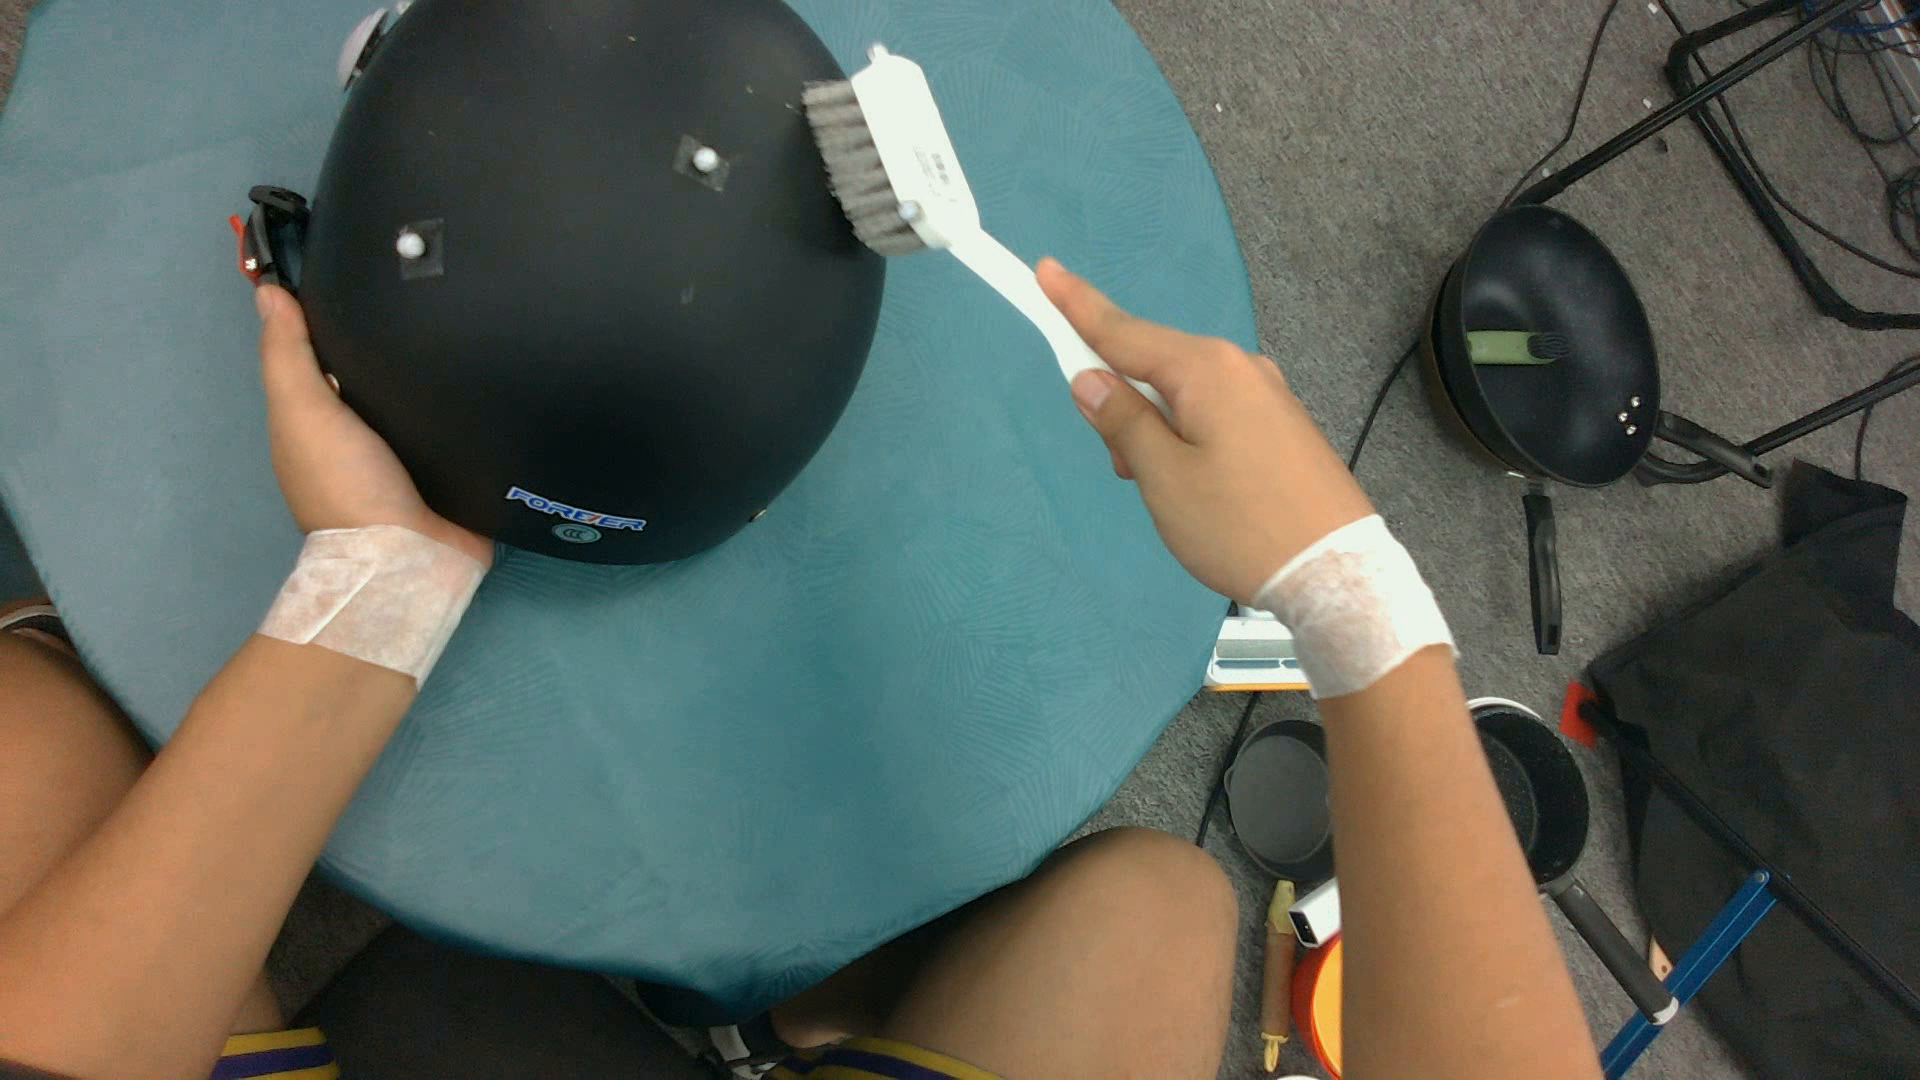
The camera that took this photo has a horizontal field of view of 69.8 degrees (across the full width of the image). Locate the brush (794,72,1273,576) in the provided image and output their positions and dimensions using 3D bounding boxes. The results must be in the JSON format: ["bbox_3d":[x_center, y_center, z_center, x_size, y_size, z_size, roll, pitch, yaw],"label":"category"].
[{"bbox_3d":[0.023,-0.074,0.511,0.244,0.050,0.034,52,34,5],"label":"brush"}]

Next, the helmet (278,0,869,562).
[{"bbox_3d":[-0.136,-0.133,0.552,0.230,0.166,0.274,21,67,-30],"label":"helmet"}]
